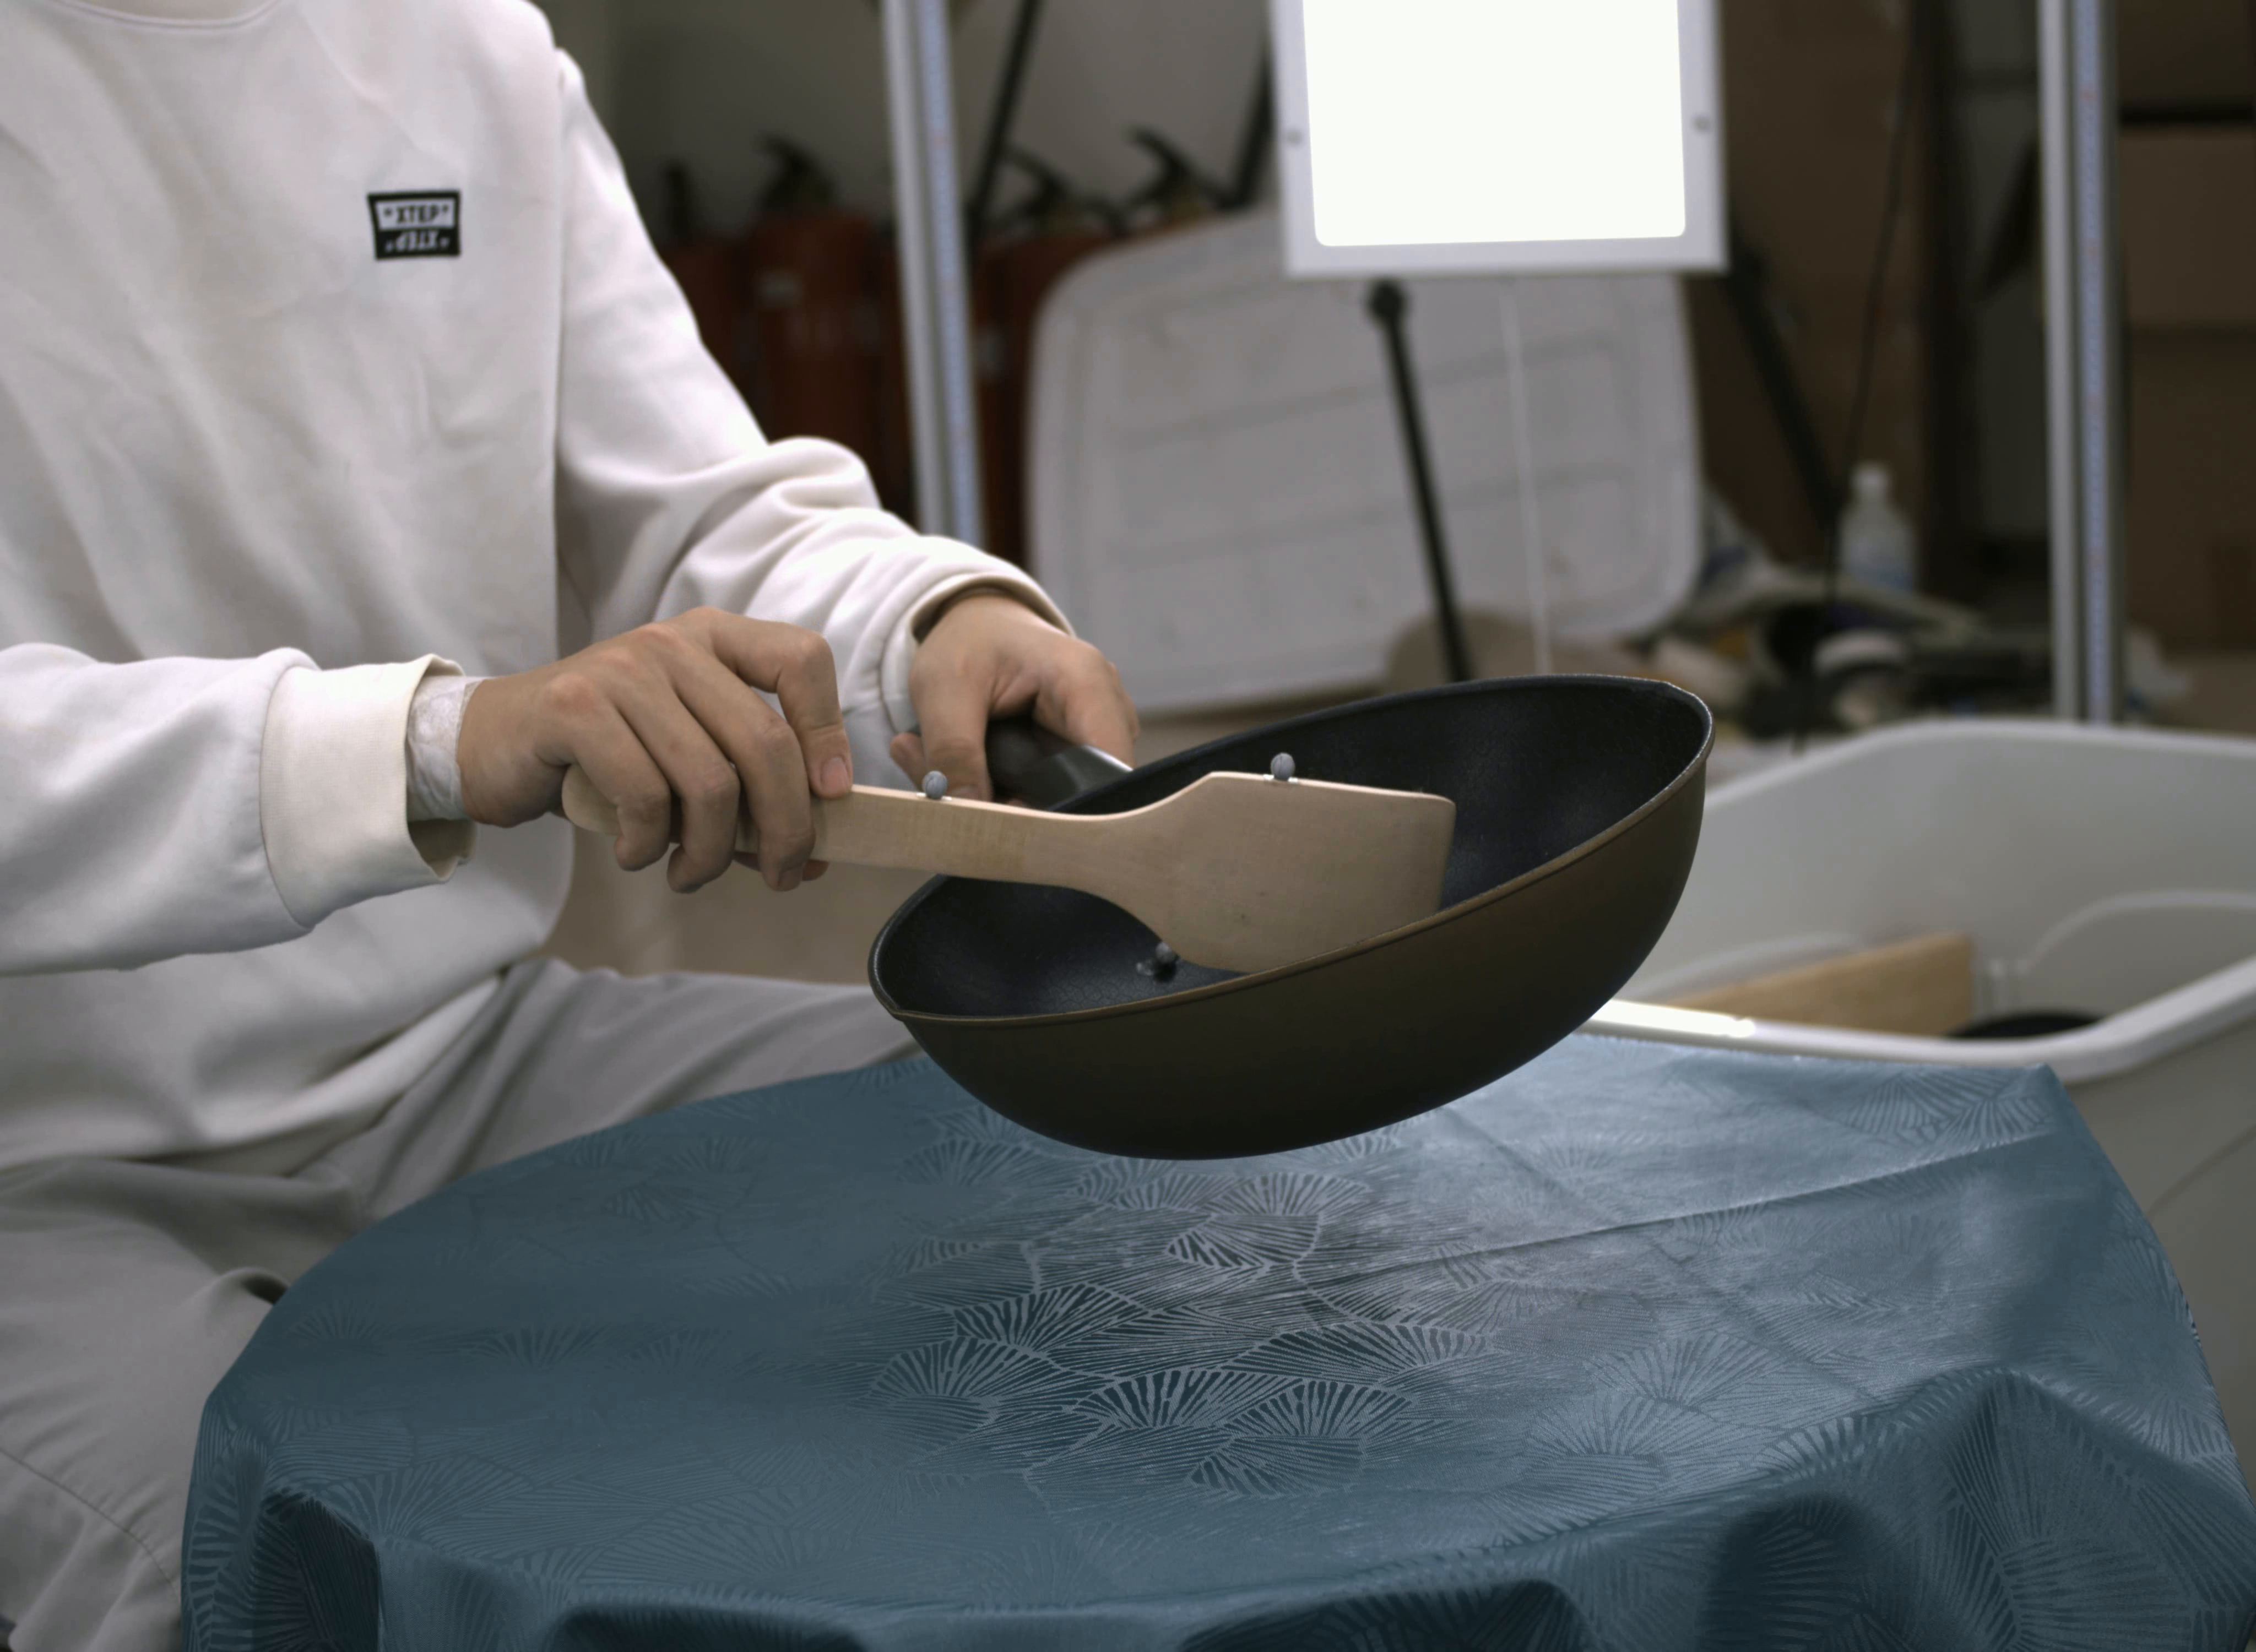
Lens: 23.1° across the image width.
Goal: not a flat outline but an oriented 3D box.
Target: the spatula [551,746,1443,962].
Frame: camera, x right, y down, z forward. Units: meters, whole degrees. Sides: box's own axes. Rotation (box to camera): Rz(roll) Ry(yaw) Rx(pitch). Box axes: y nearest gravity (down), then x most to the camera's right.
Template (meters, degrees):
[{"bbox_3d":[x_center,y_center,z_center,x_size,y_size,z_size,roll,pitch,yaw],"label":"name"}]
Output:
[{"bbox_3d":[-0.043,0.003,1.799,0.291,0.073,0.010,8,24,-5],"label":"spatula"}]

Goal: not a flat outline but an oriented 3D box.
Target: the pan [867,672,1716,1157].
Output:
[{"bbox_3d":[0.028,0.025,1.845,0.284,0.087,0.470,-23,15,-17],"label":"pan"}]
